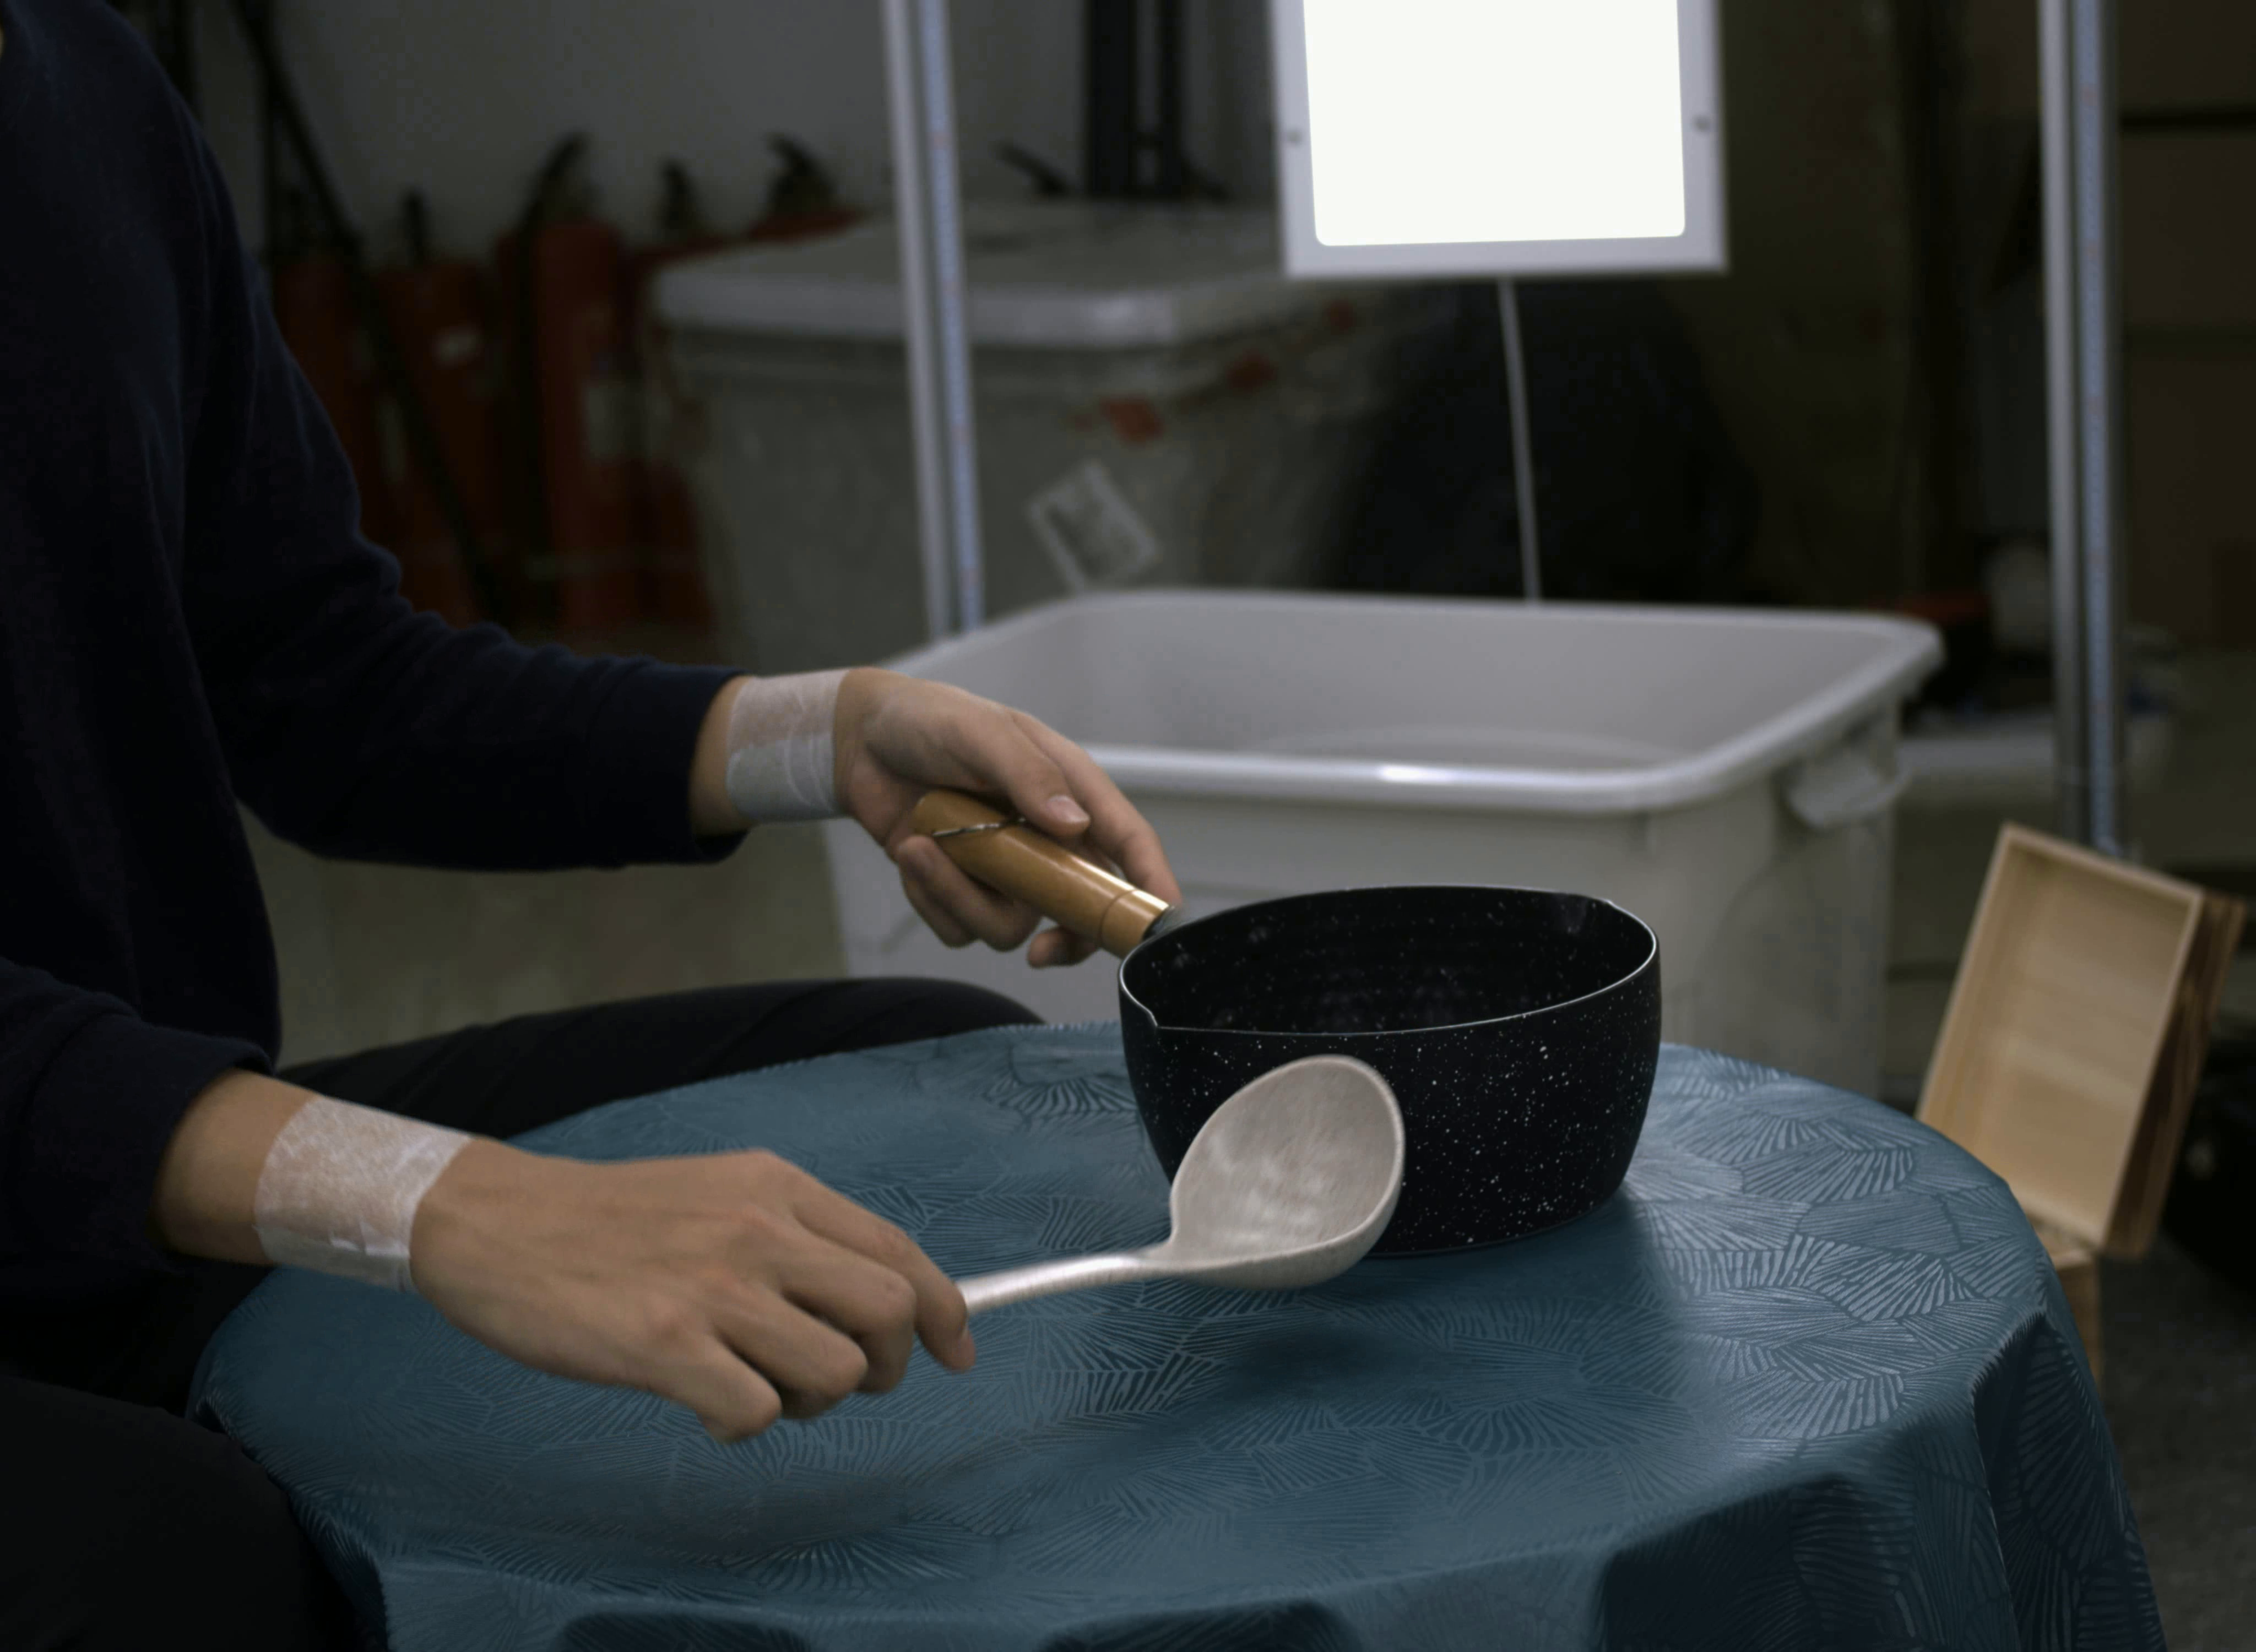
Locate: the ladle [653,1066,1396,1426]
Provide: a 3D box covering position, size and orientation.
[{"bbox_3d":[-0.032,0.123,1.654,0.268,0.070,0.091,-8,13,-40],"label":"ladle"}]

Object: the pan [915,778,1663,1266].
[{"bbox_3d":[0.038,0.061,1.920,0.202,0.108,0.350,-17,20,-37],"label":"pan"}]
